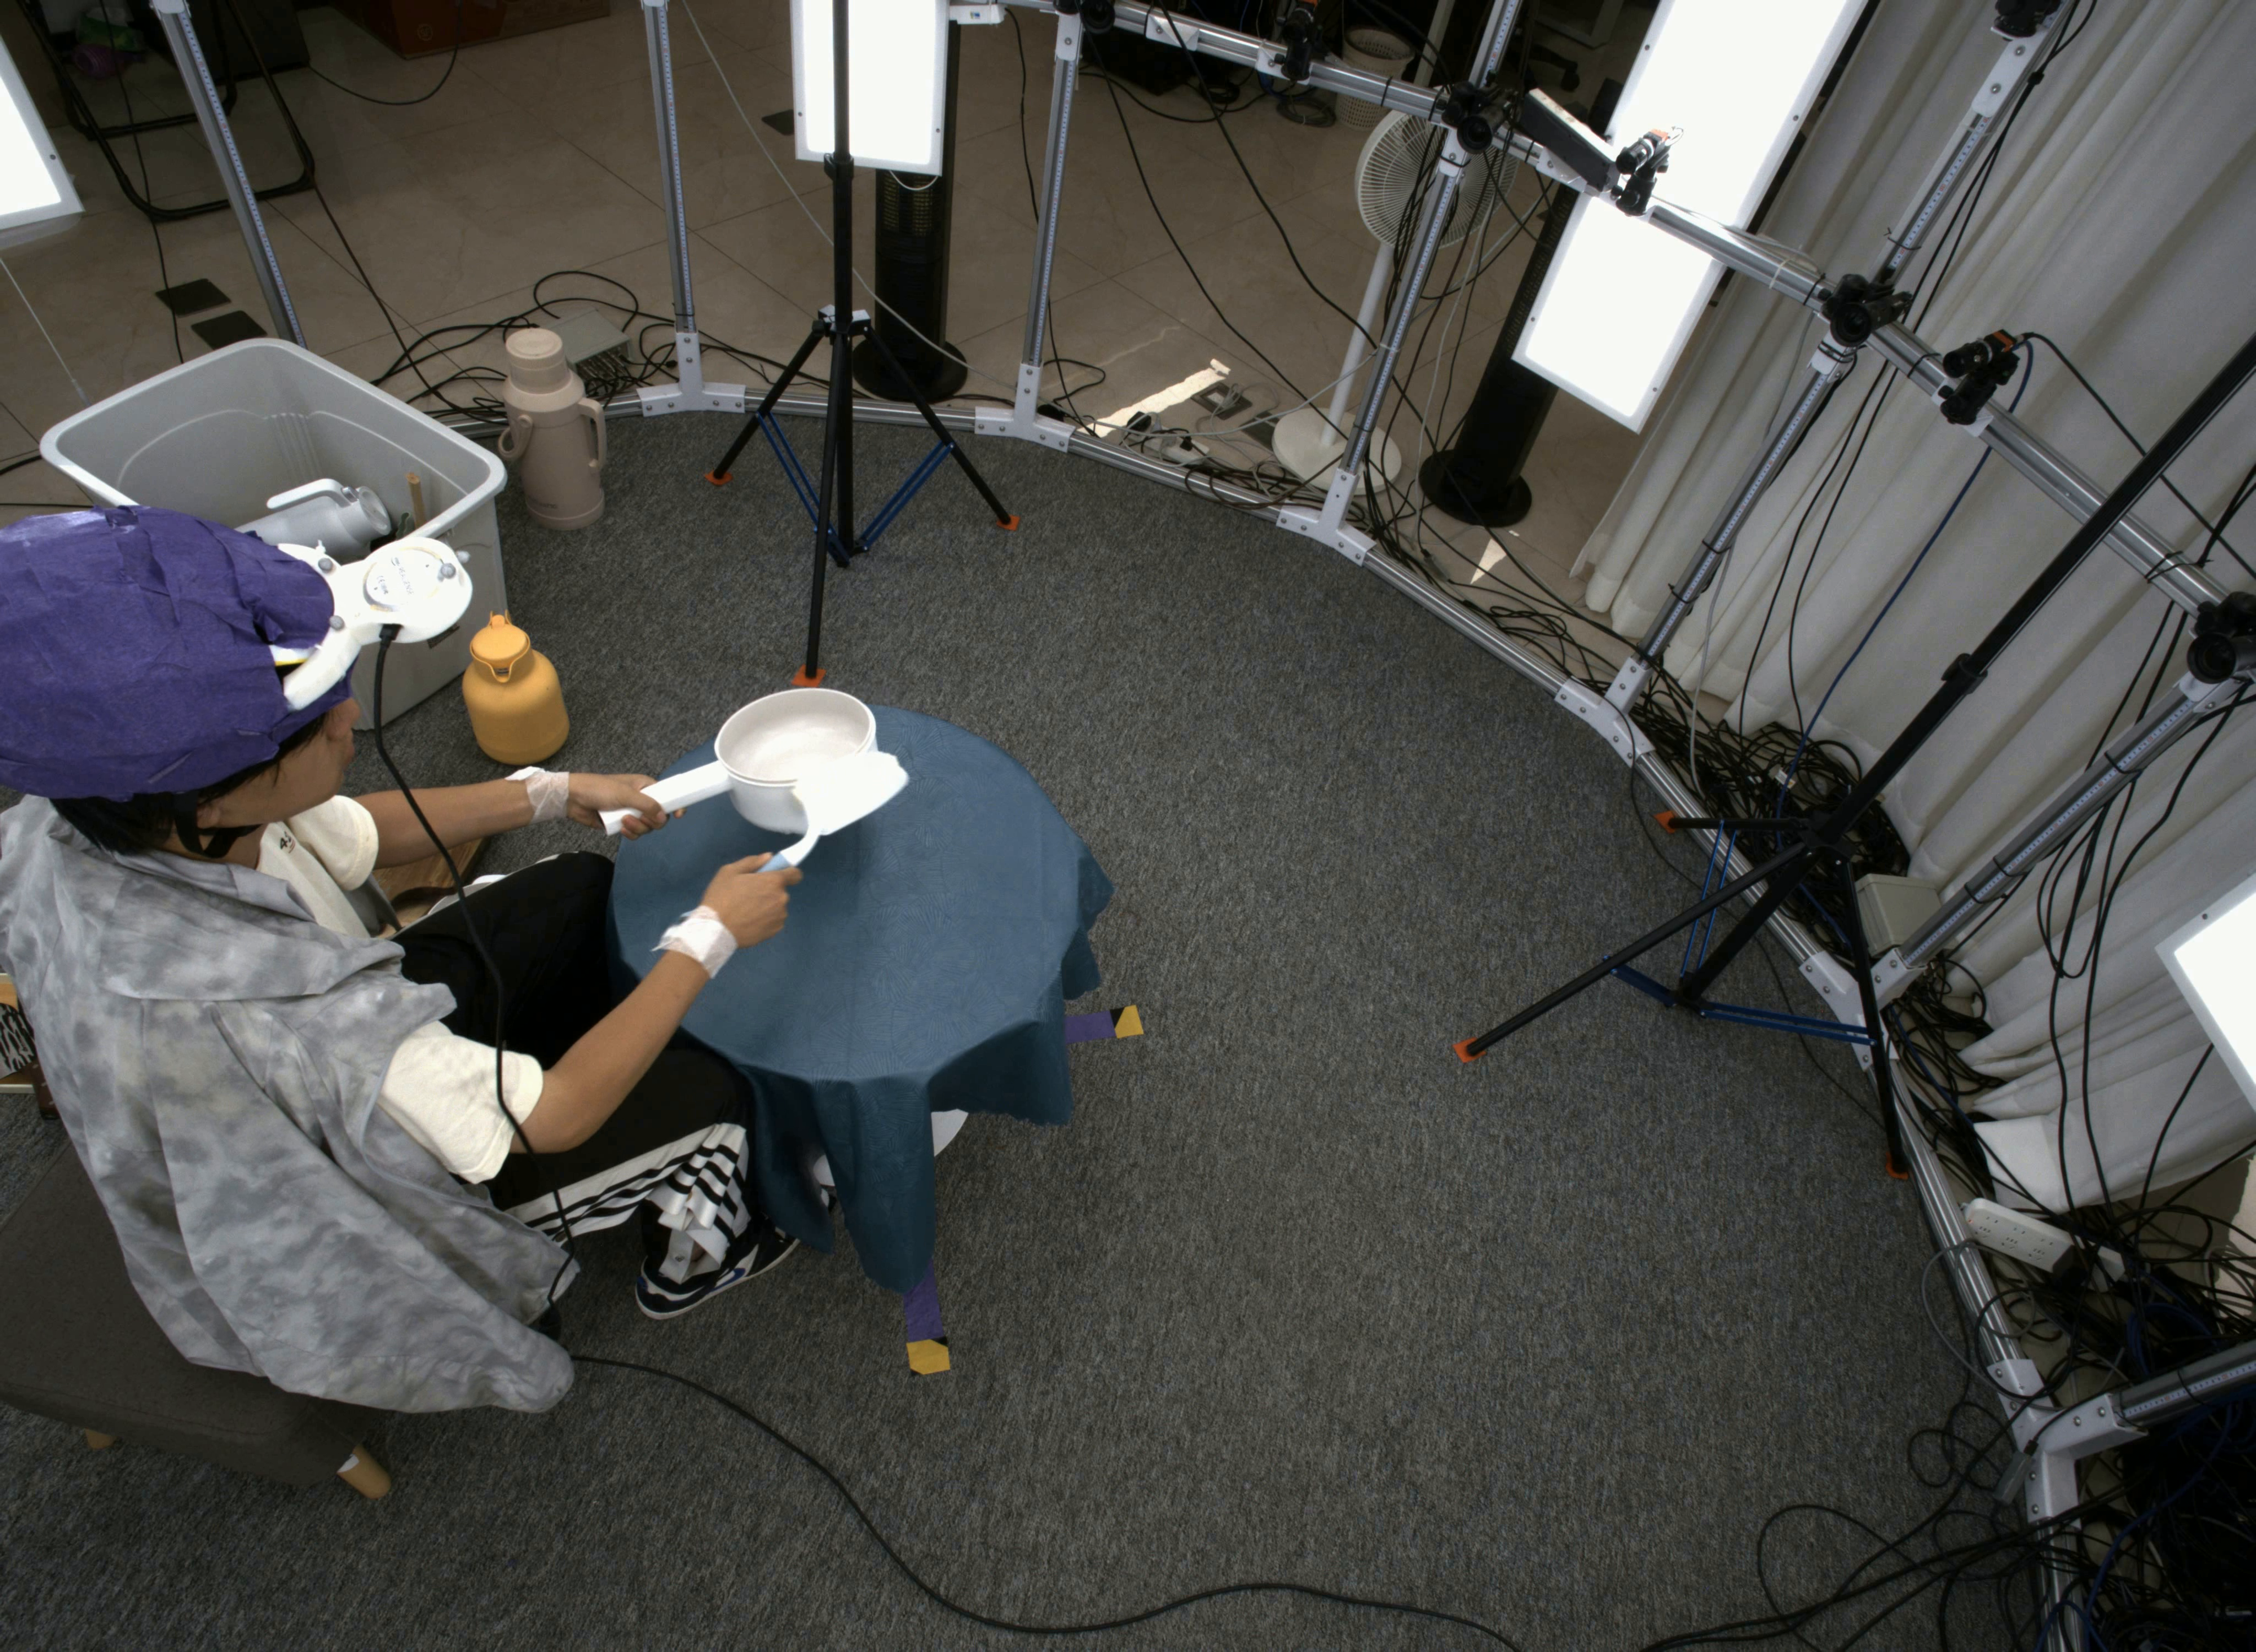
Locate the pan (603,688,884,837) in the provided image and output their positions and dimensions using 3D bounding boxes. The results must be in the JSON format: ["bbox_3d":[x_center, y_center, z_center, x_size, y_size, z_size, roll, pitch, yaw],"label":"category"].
[{"bbox_3d":[-0.471,-0.048,1.613,0.356,0.105,0.194,-25,46,-25],"label":"pan"}]

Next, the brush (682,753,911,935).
[{"bbox_3d":[-0.399,0.008,1.515,0.326,0.083,0.085,-38,104,-26],"label":"brush"}]
